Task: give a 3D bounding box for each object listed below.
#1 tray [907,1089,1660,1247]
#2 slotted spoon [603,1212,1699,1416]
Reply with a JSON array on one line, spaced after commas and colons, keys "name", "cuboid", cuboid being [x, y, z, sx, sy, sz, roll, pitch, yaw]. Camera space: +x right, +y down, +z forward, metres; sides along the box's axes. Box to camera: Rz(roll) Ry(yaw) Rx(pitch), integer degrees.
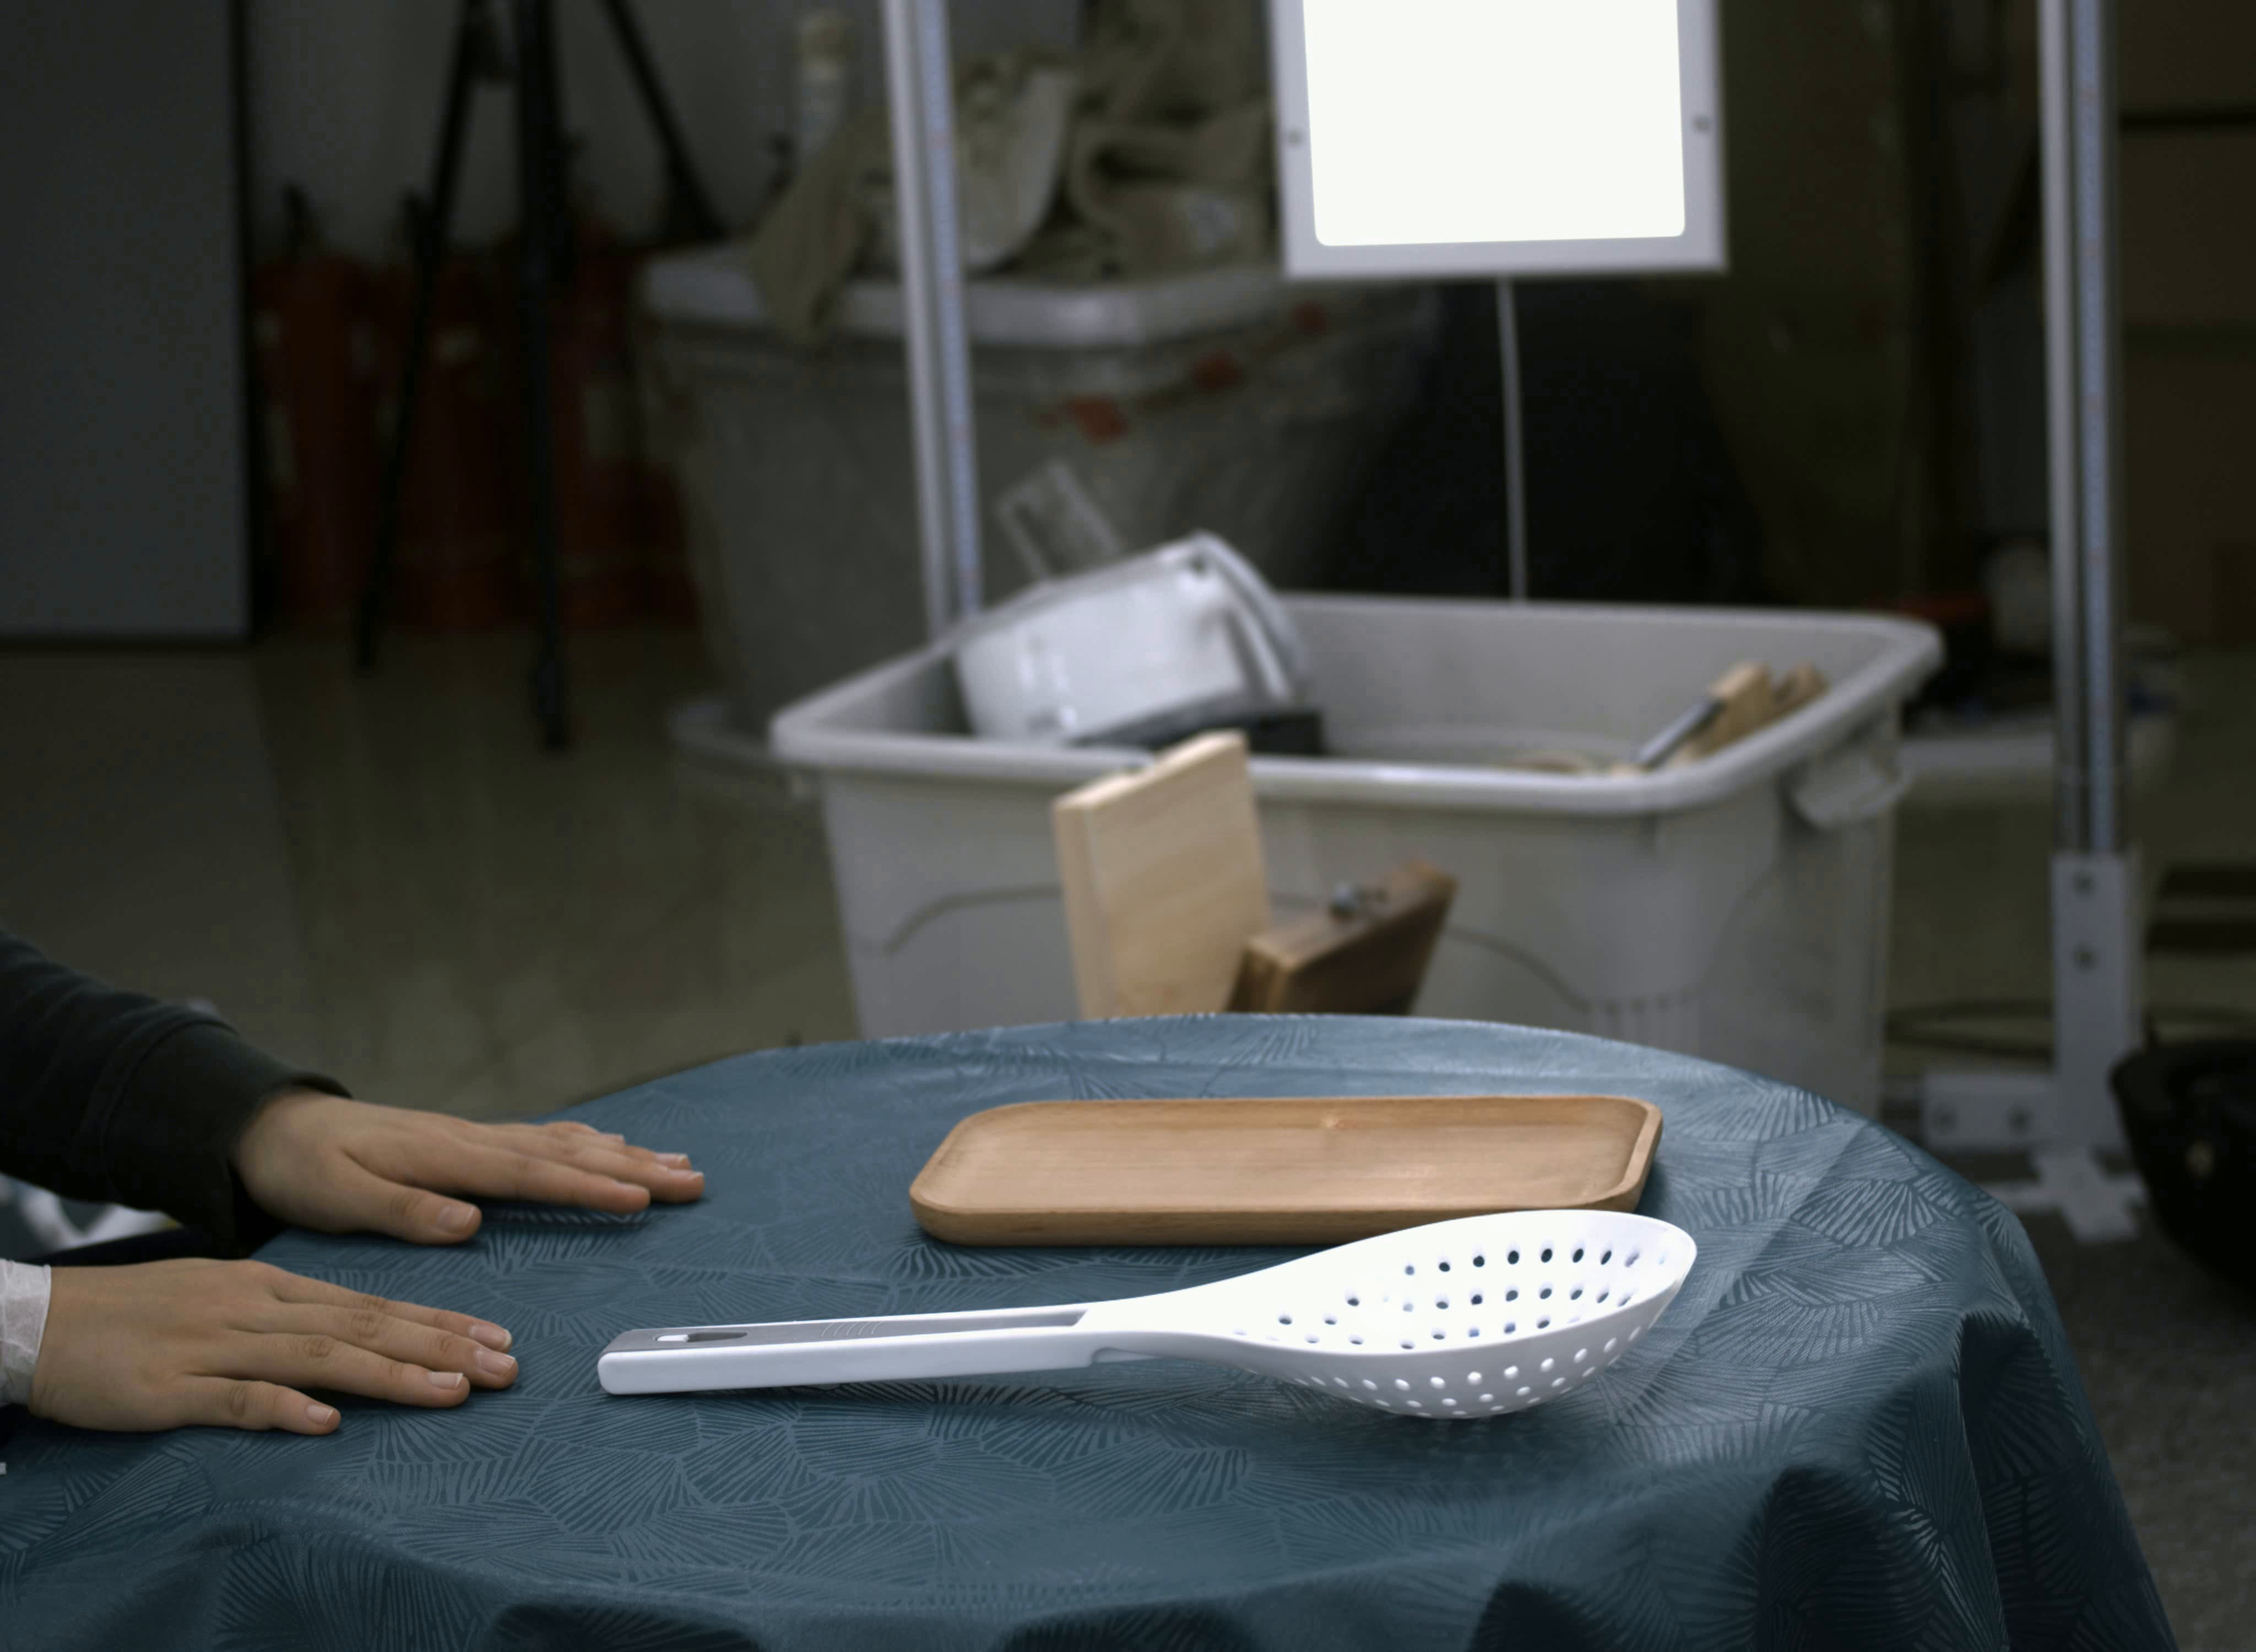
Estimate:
[{"name": "tray", "cuboid": [0.054, 0.117, 1.881, 0.253, 0.023, 0.129, -2, 12, 15]}, {"name": "slotted spoon", "cuboid": [0.003, 0.154, 1.690, 0.354, 0.046, 0.134, -1, 12, 18]}]
